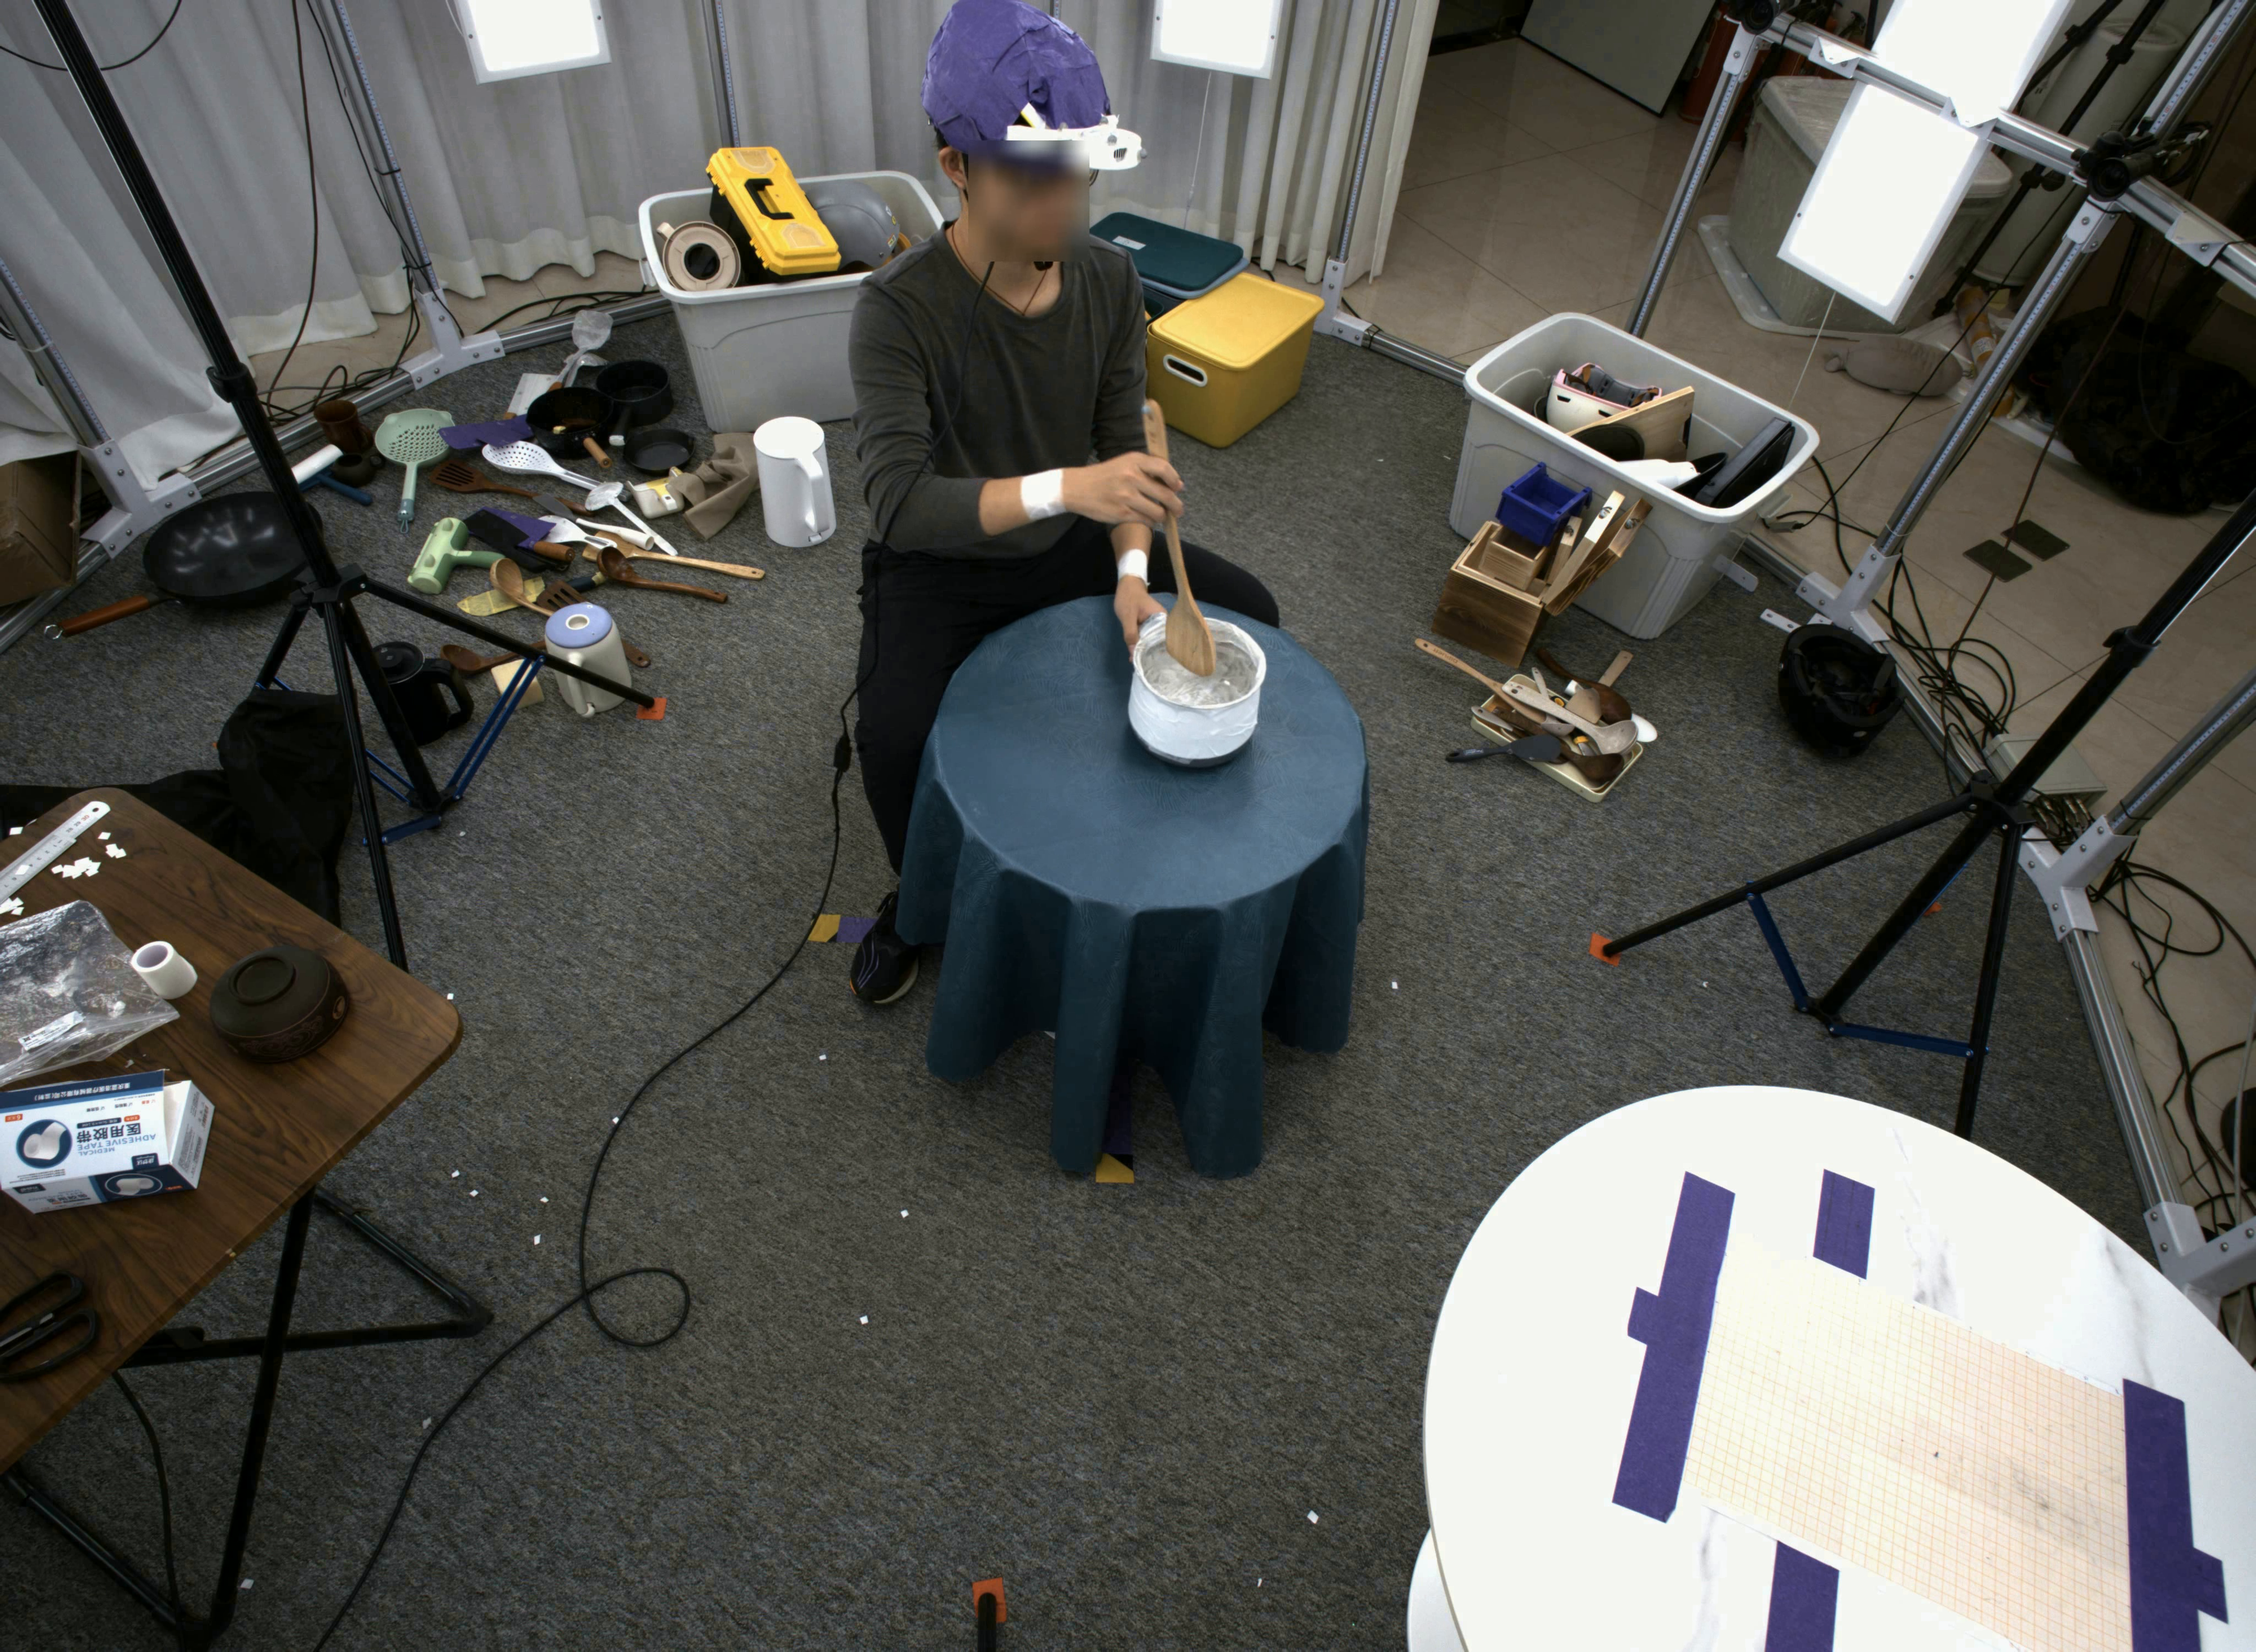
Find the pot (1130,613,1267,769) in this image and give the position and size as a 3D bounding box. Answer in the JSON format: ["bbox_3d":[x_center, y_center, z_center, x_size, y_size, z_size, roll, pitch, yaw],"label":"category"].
[{"bbox_3d":[0.078,-0.195,1.756,0.179,0.133,0.238,-23,54,-21],"label":"pot"}]

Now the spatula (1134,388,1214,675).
[{"bbox_3d":[0.048,-0.349,1.575,0.018,0.381,0.097,-36,45,-22],"label":"spatula"}]
